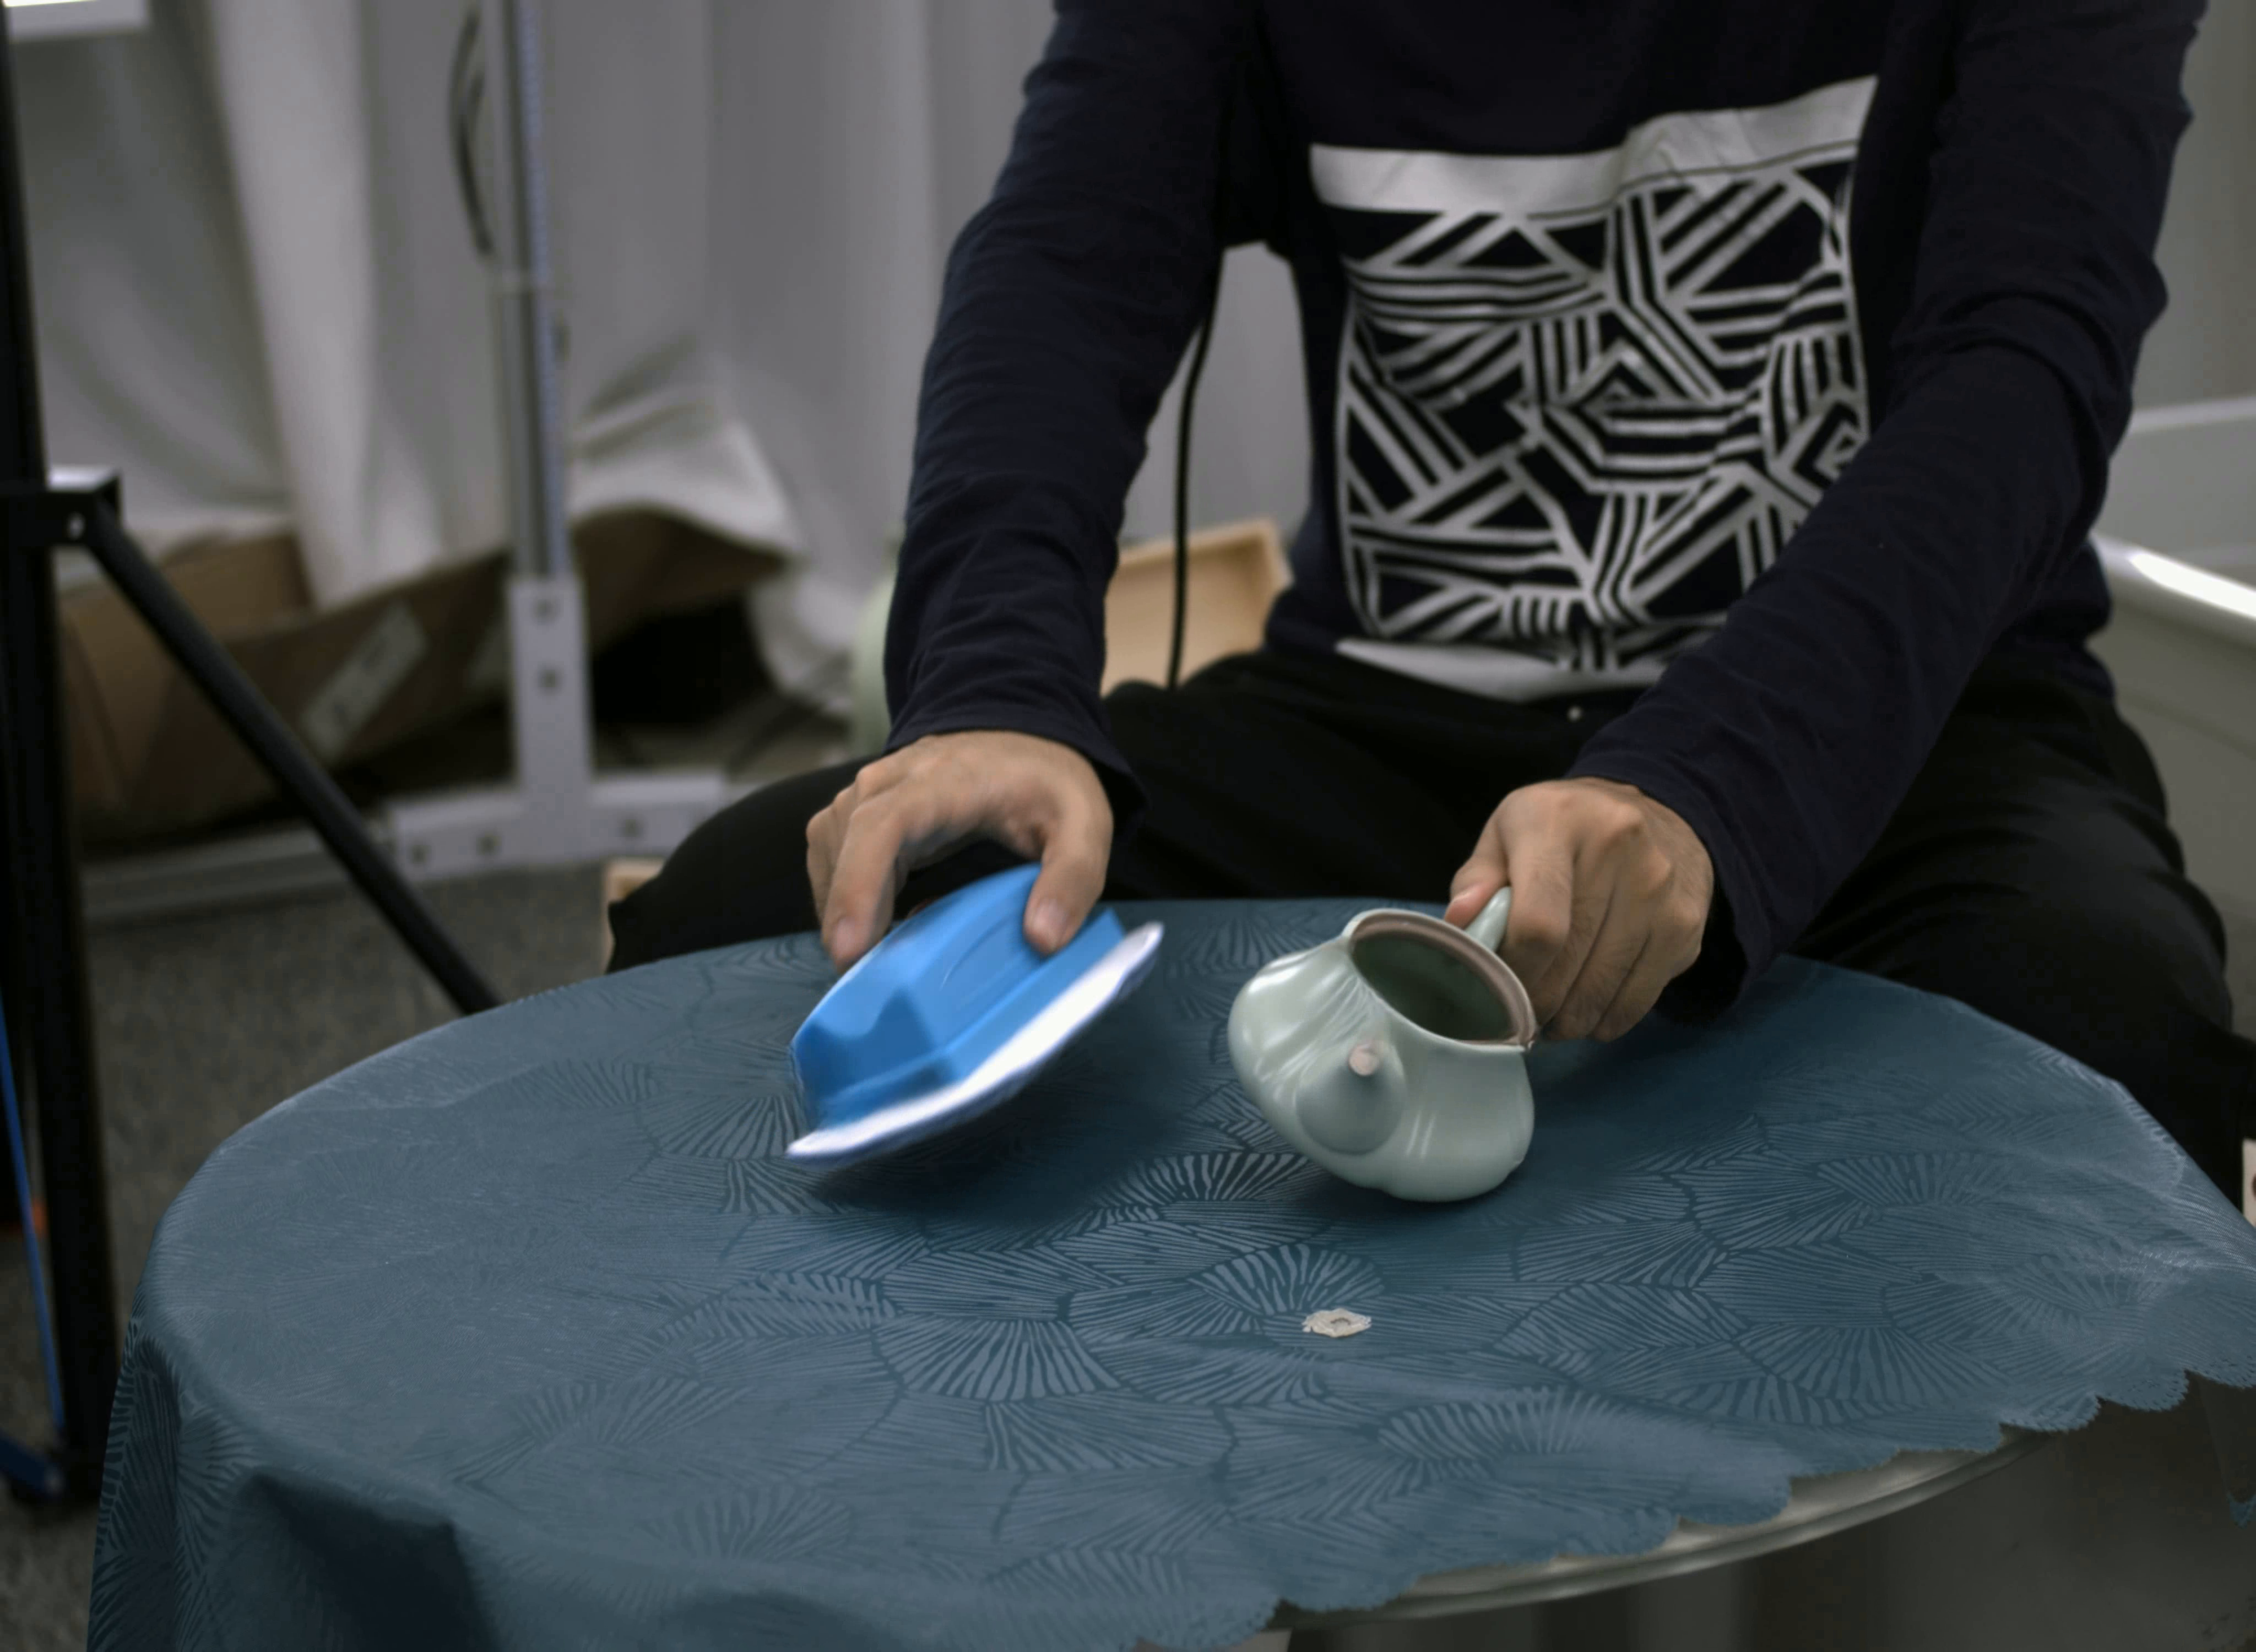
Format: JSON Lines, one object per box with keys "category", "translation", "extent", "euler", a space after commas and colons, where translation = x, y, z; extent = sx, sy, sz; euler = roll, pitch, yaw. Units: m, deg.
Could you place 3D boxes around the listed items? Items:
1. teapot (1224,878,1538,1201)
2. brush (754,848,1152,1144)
{"category": "teapot", "translation": [0.081, 0.063, 1.556], "extent": [0.097, 0.061, 0.135], "euler": [29, 33, 11]}
{"category": "brush", "translation": [-0.056, 0.048, 1.610], "extent": [0.085, 0.056, 0.142], "euler": [-14, 15, 32]}
